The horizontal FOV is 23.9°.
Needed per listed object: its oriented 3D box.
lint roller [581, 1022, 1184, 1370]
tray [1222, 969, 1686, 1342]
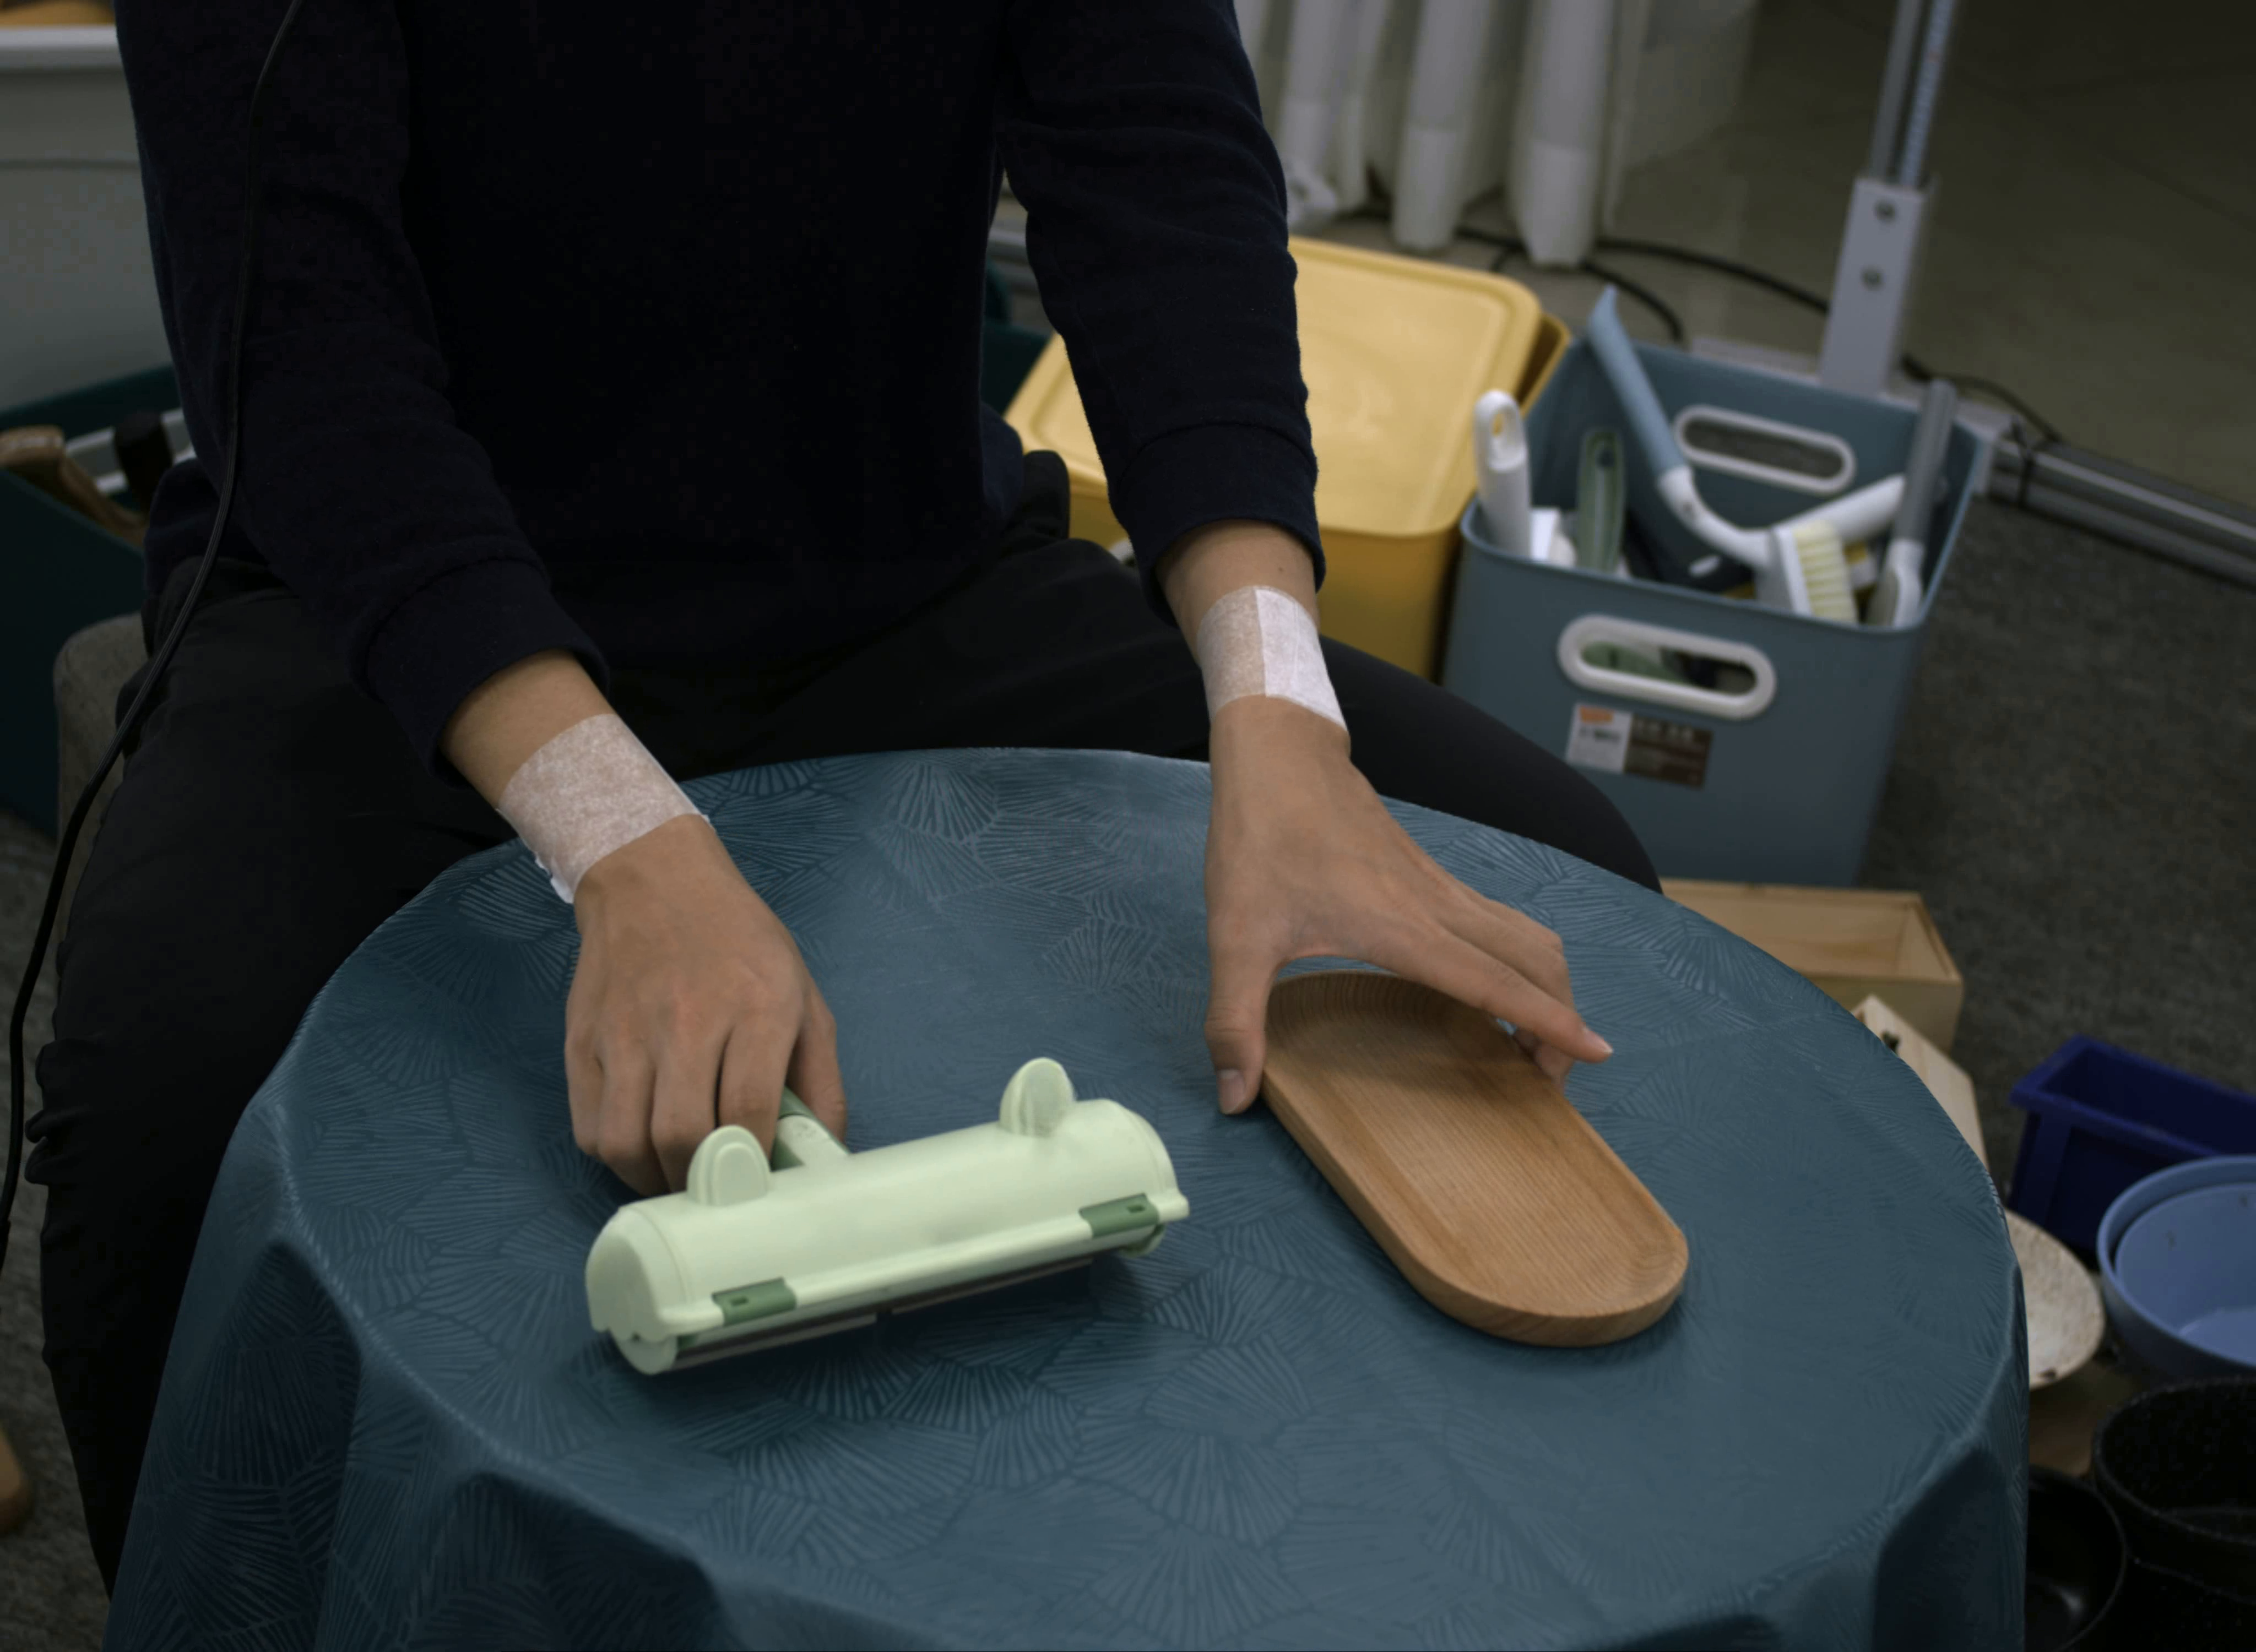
[{"bbox_3d":[-0.107,0.094,1.740,0.197,0.082,0.185,-11,37,-32],"label":"lint roller"},{"bbox_3d":[0.110,0.111,1.834,0.101,0.020,0.233,-5,28,-24],"label":"tray"}]
